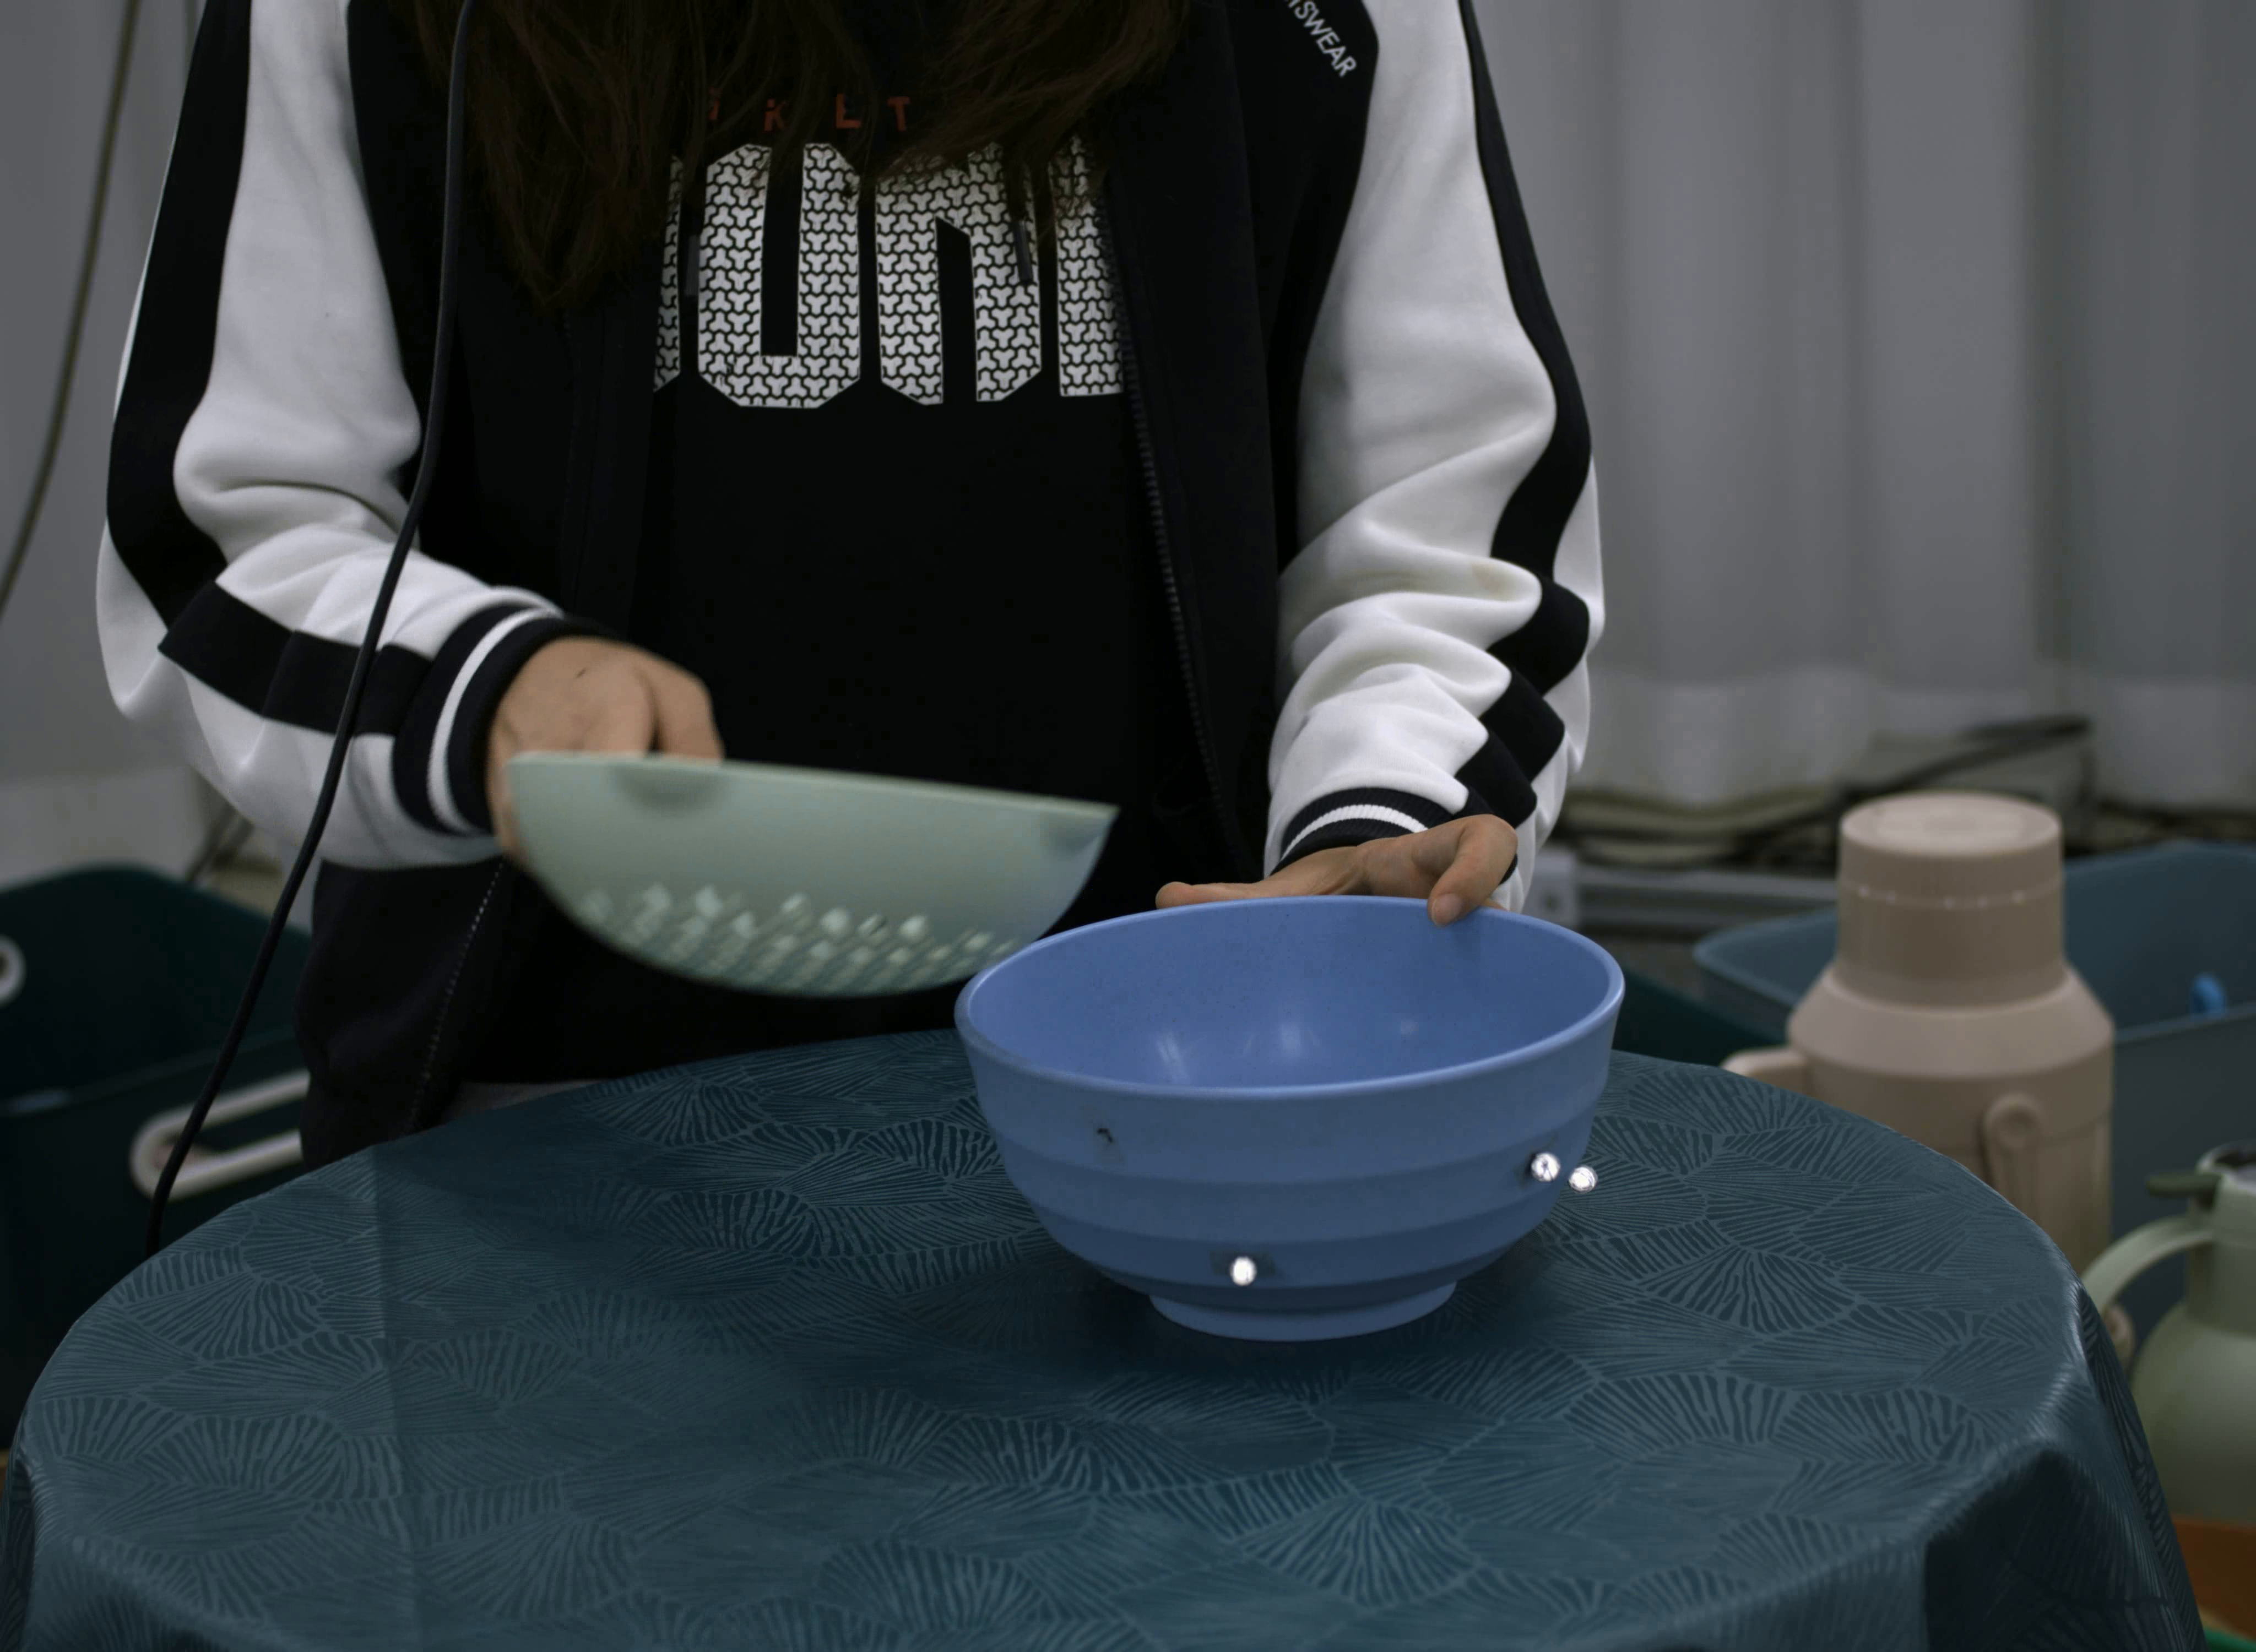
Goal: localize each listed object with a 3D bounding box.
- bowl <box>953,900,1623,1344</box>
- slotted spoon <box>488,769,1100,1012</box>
[{"bbox_3d":[0.049,0.092,1.607,0.196,0.095,0.198,-3,14,1],"label":"bowl"},{"bbox_3d":[-0.128,0.009,1.617,0.168,0.075,0.360,7,4,-19],"label":"slotted spoon"}]
